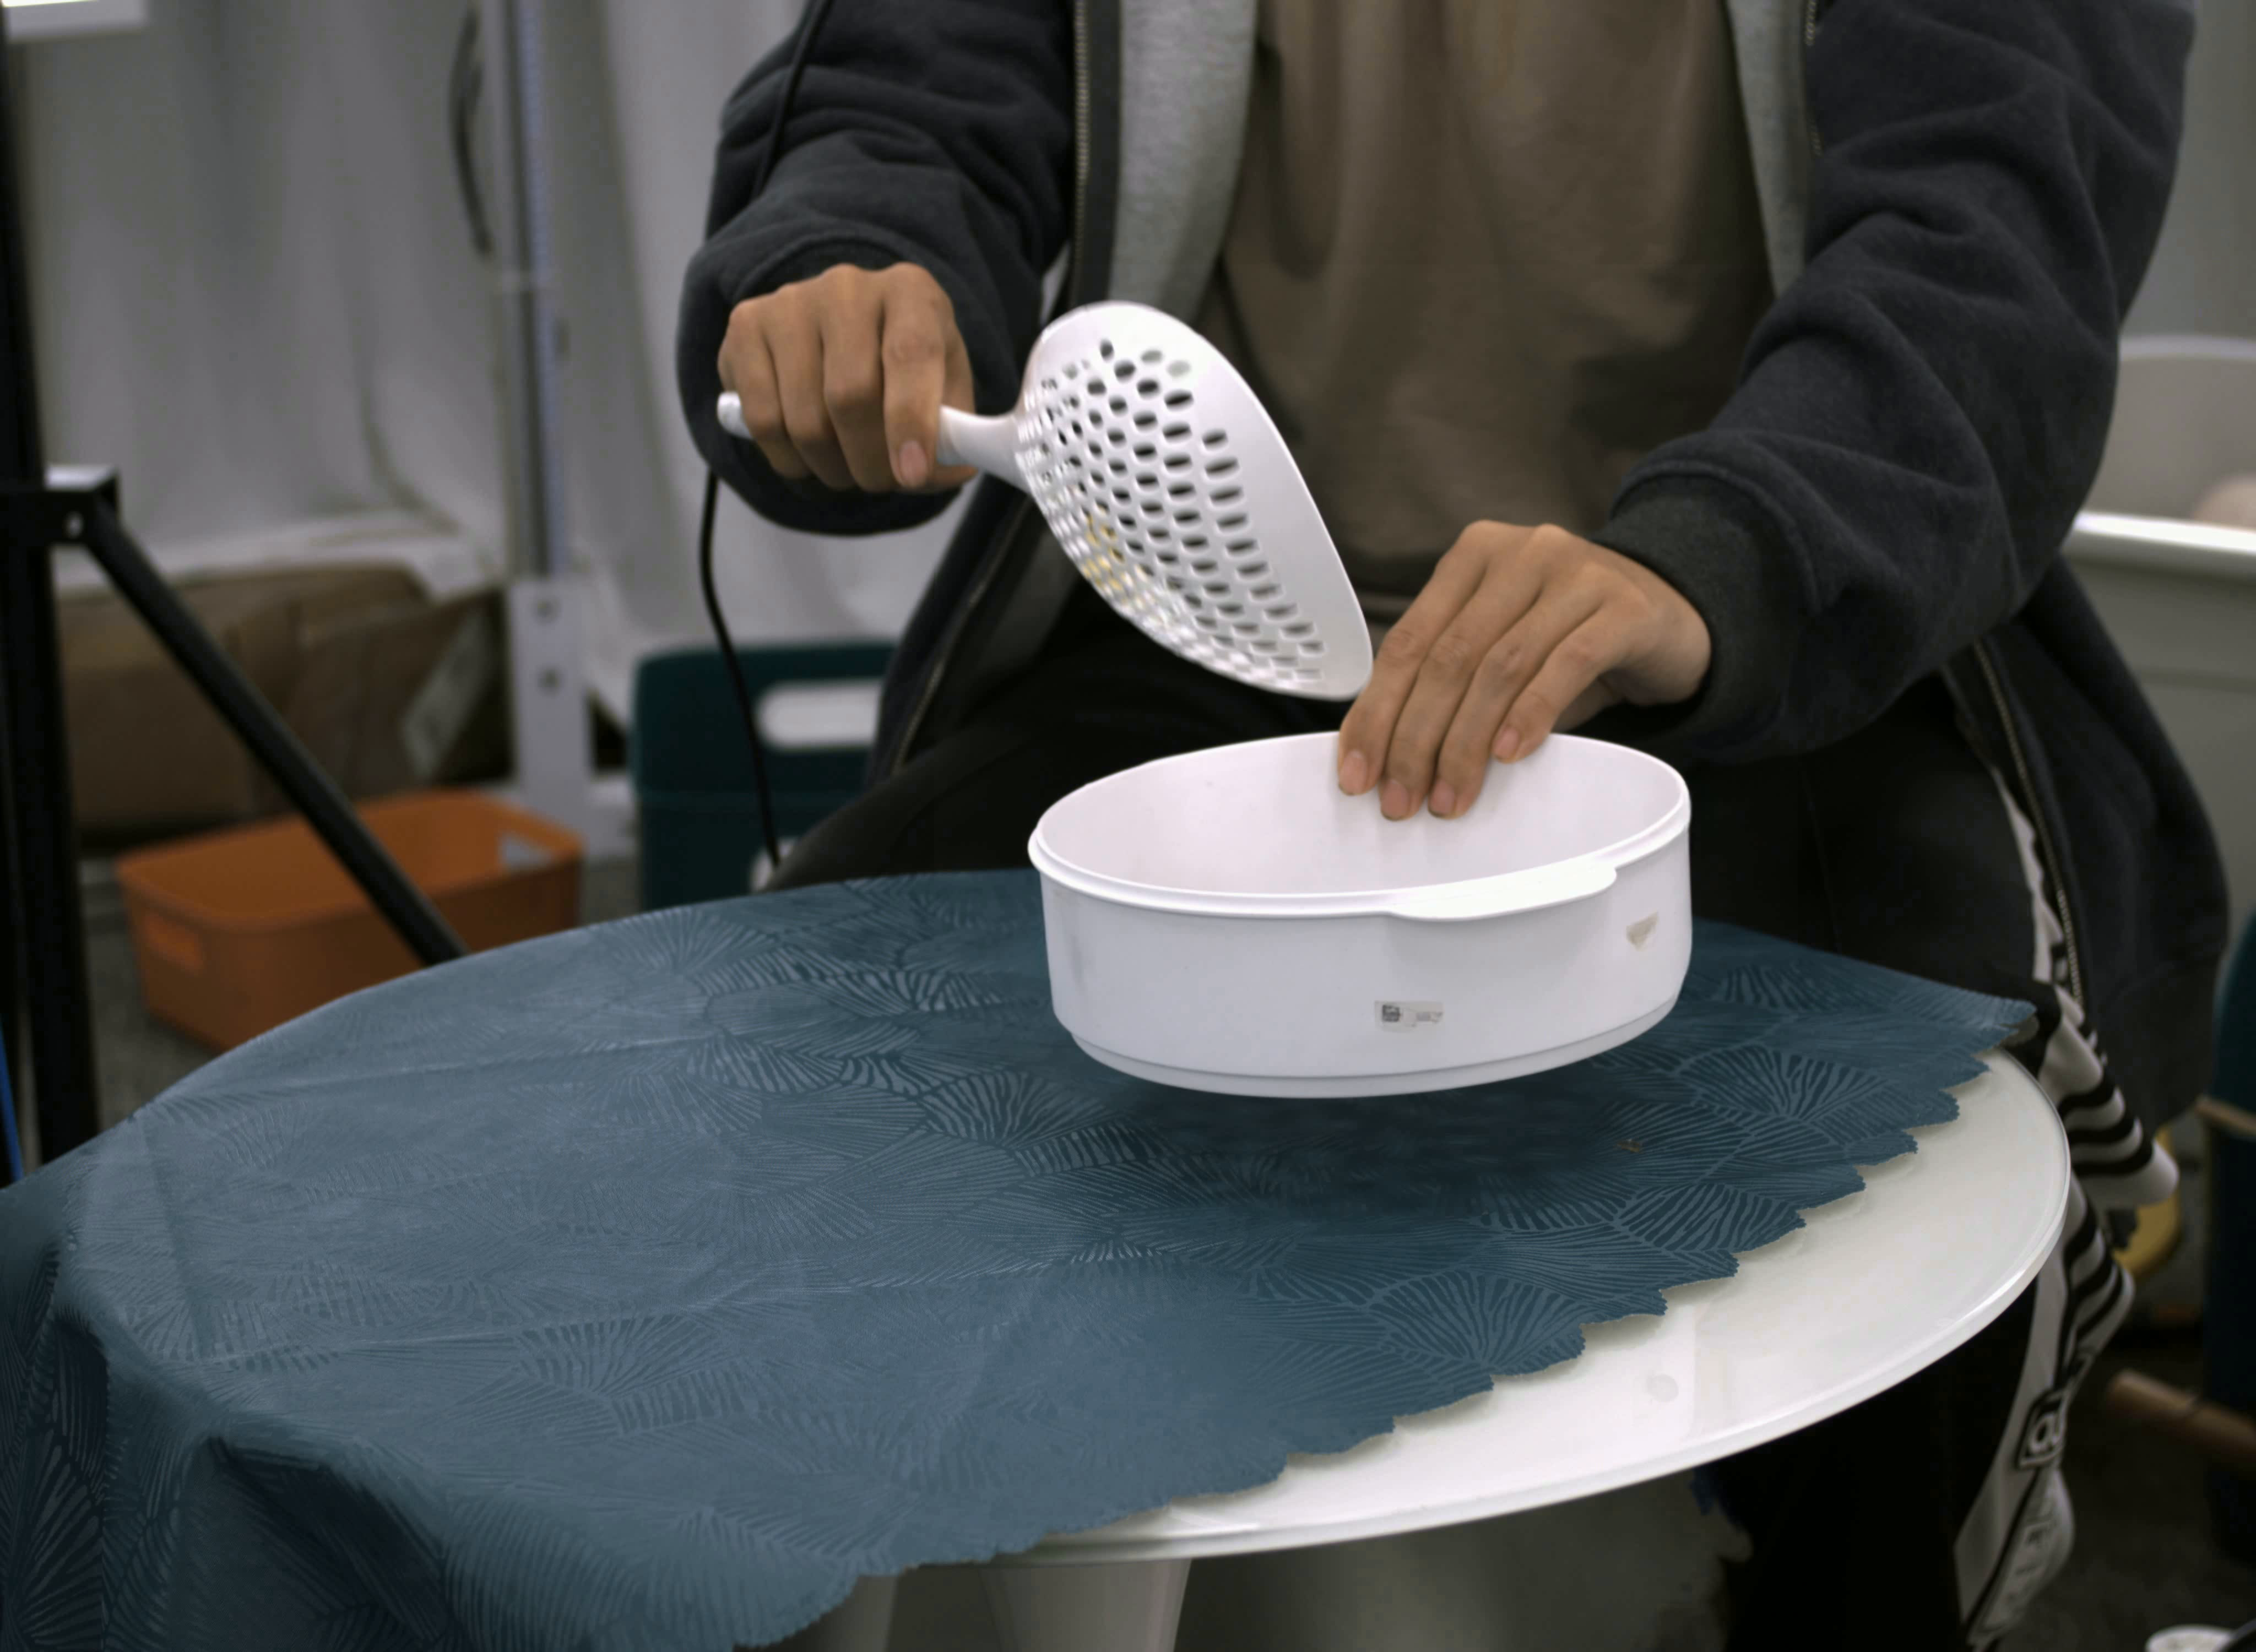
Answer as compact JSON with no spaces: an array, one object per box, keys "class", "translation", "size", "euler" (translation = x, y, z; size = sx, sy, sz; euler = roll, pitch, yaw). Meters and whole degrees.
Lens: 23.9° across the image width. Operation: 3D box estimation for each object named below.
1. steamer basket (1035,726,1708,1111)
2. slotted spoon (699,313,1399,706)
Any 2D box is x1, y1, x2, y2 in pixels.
[{"class":"steamer basket","translation":[0.074,0.028,1.592],"size":[0.198,0.069,0.235],"euler":[-10,17,-20]},{"class":"slotted spoon","translation":[-0.037,-0.106,1.643],"size":[0.050,0.135,0.355],"euler":[-36,27,-16]}]
